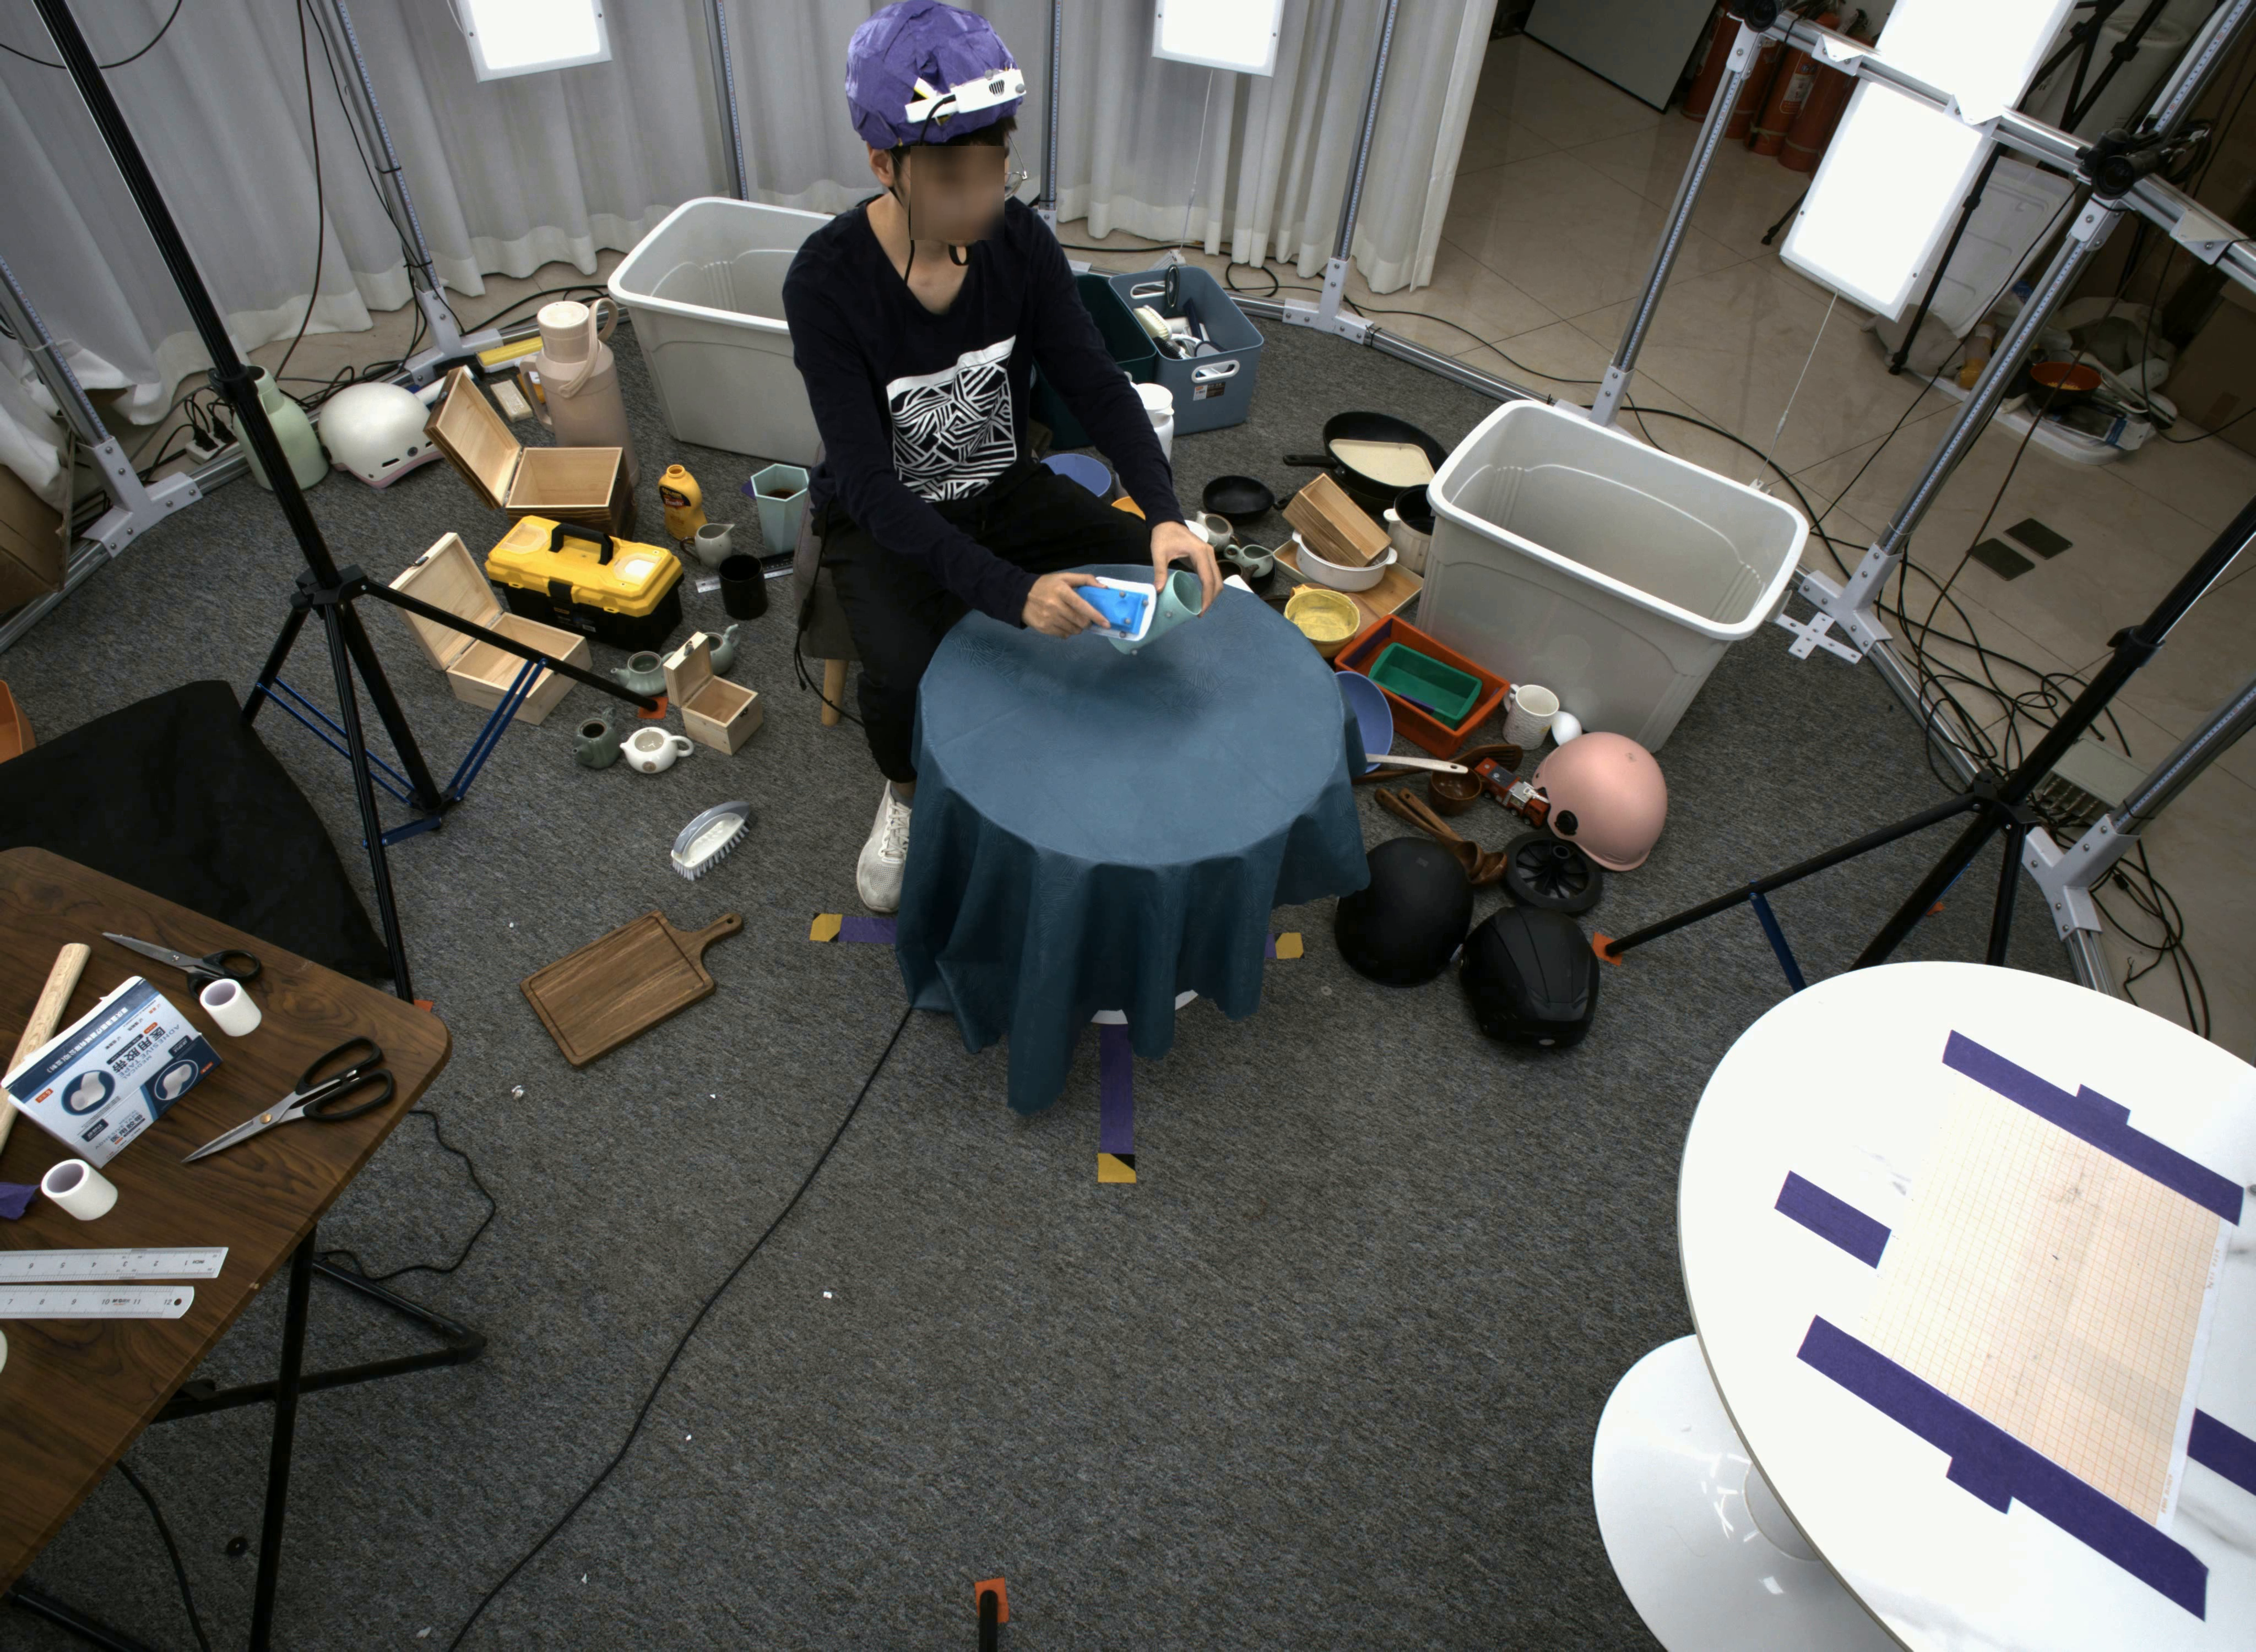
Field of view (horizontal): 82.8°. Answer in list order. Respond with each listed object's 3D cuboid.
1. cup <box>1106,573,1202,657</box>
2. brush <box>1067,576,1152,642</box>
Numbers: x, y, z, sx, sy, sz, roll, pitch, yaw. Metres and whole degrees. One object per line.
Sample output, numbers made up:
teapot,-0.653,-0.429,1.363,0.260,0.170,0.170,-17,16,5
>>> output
cup,0.034,-0.294,1.792,0.066,0.131,0.068,25,53,-37
brush,-0.034,-0.304,1.772,0.055,0.084,0.146,20,1,-44
